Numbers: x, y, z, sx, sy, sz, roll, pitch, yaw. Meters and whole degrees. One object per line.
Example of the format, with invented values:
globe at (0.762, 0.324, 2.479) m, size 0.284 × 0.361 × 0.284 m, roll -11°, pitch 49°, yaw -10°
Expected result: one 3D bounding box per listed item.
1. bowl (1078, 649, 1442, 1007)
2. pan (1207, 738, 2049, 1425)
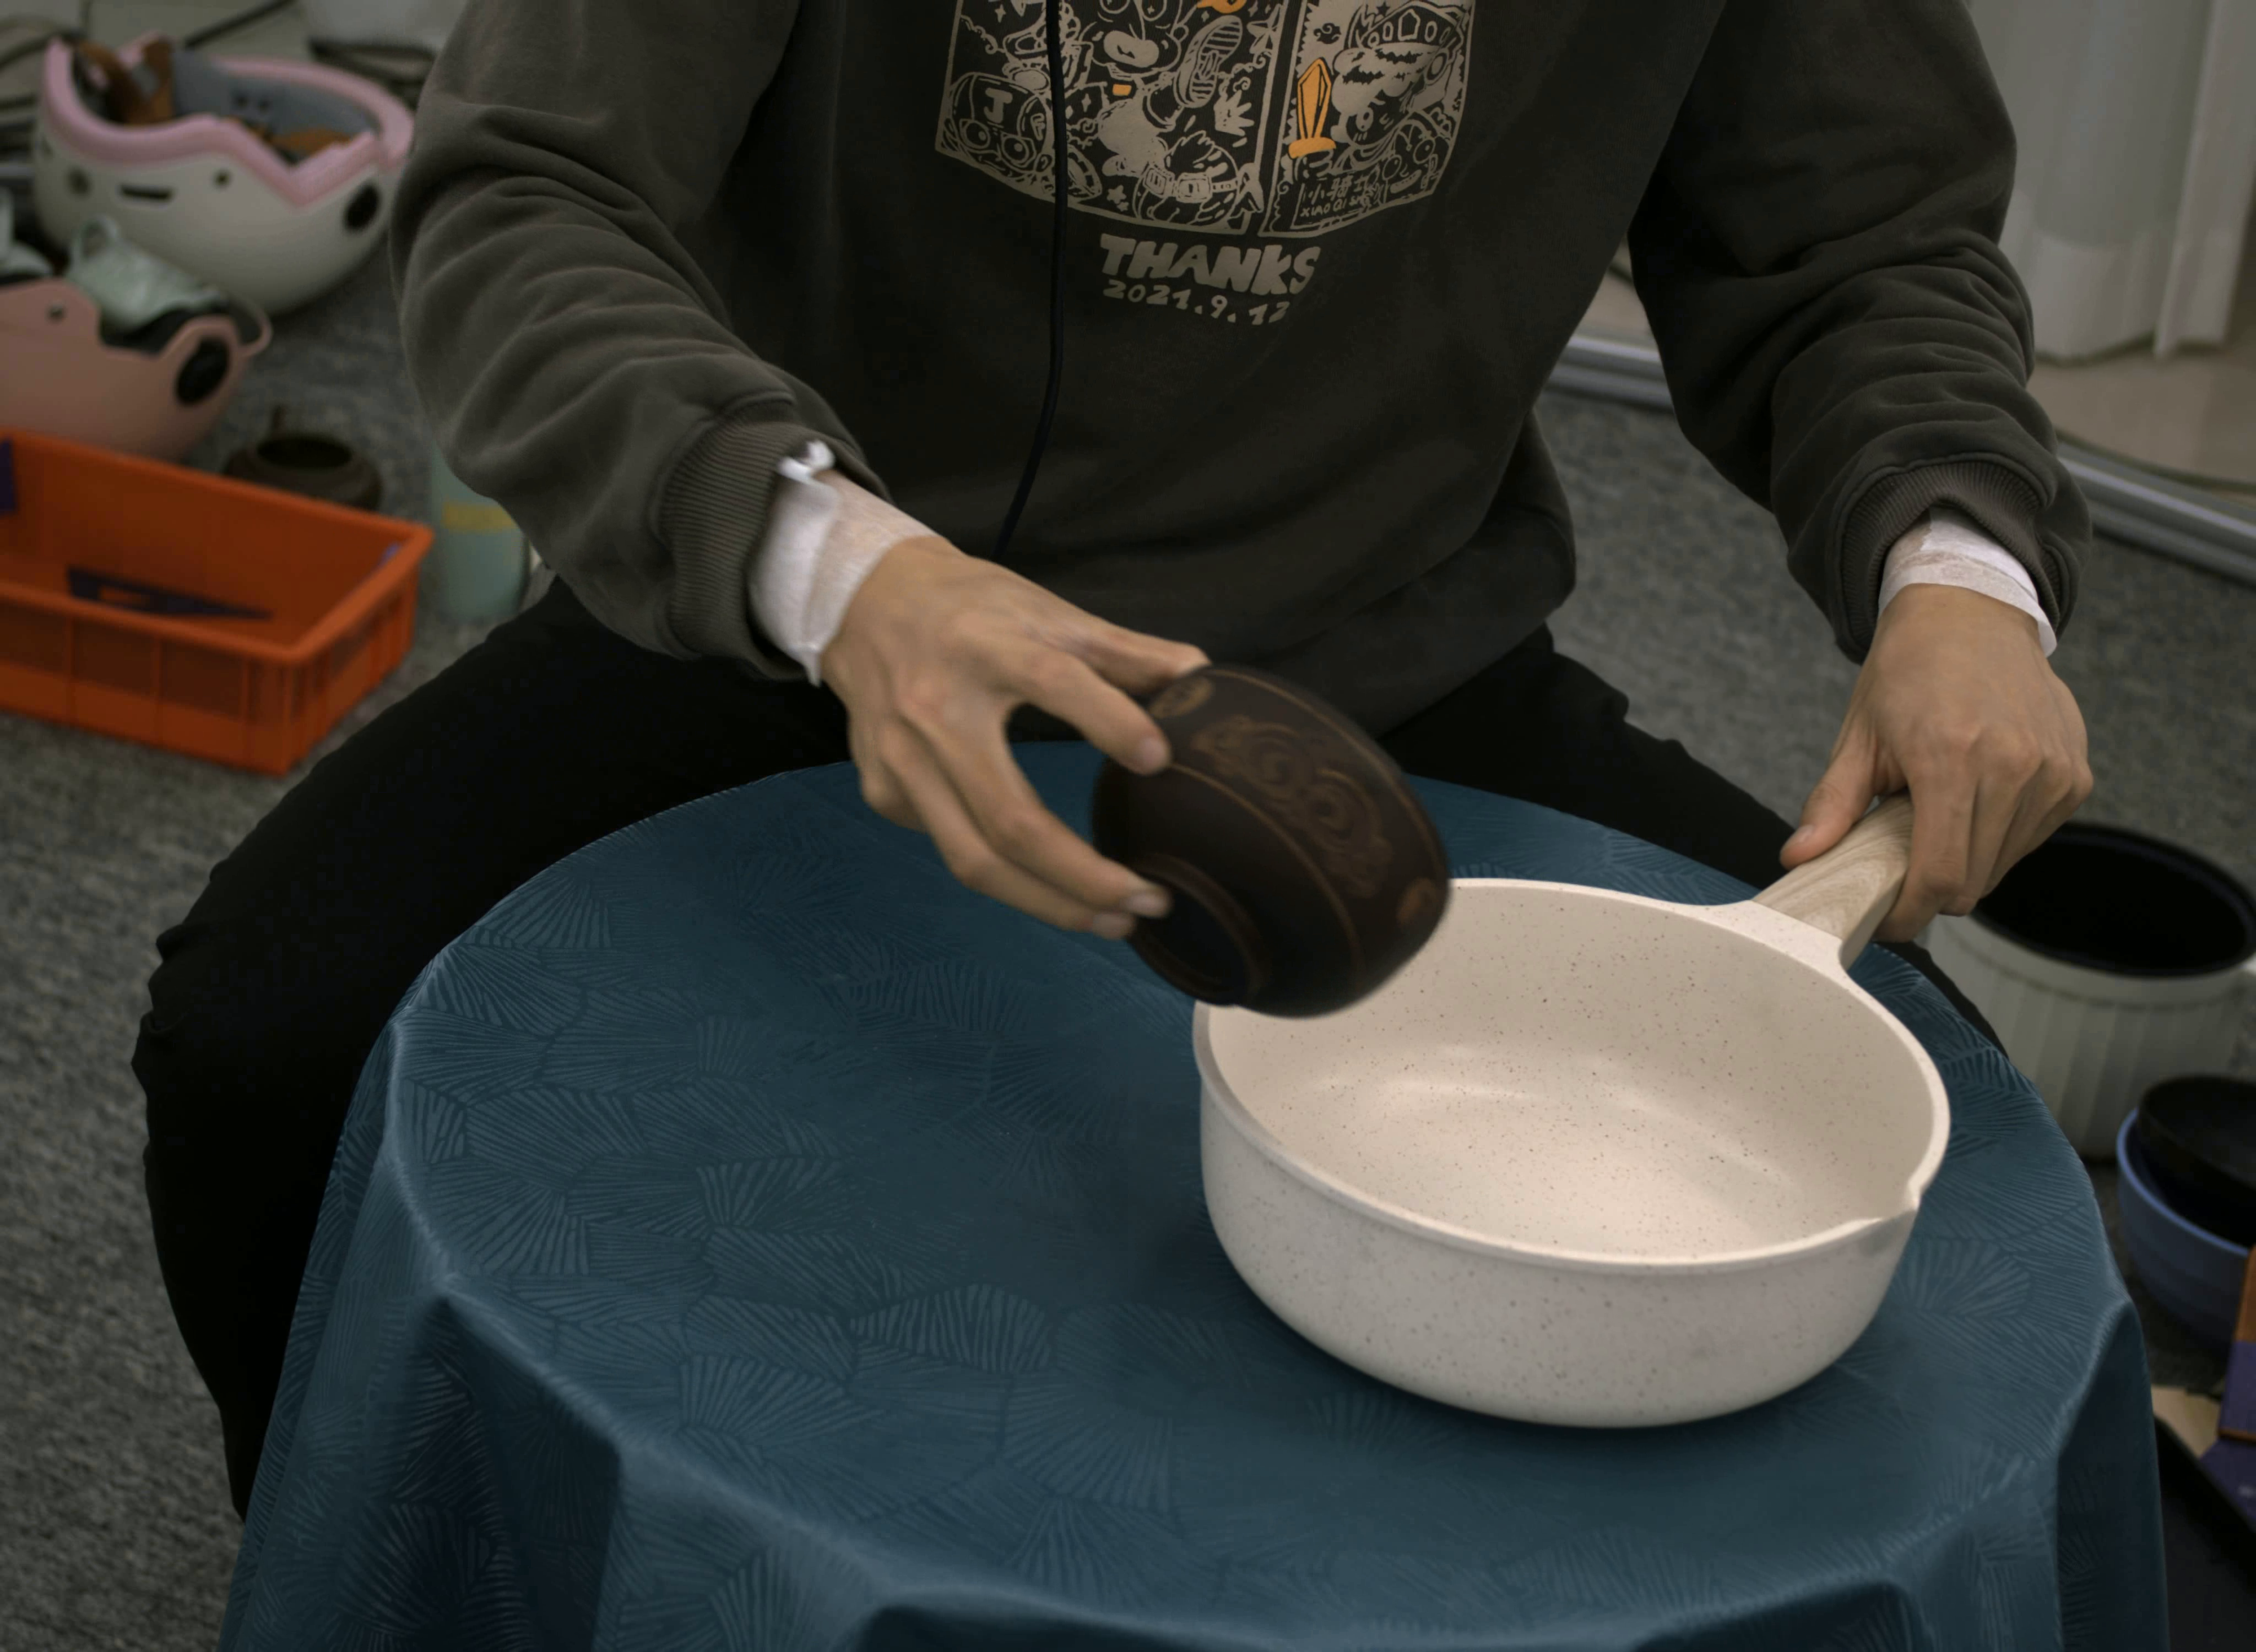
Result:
bowl at (0.033, 0.010, 1.671) m, size 0.119 × 0.117 × 0.070 m, roll 24°, pitch 57°, yaw 31°
pan at (0.202, 0.079, 1.829) m, size 0.265 × 0.101 × 0.433 m, roll 22°, pitch 30°, yaw 31°
